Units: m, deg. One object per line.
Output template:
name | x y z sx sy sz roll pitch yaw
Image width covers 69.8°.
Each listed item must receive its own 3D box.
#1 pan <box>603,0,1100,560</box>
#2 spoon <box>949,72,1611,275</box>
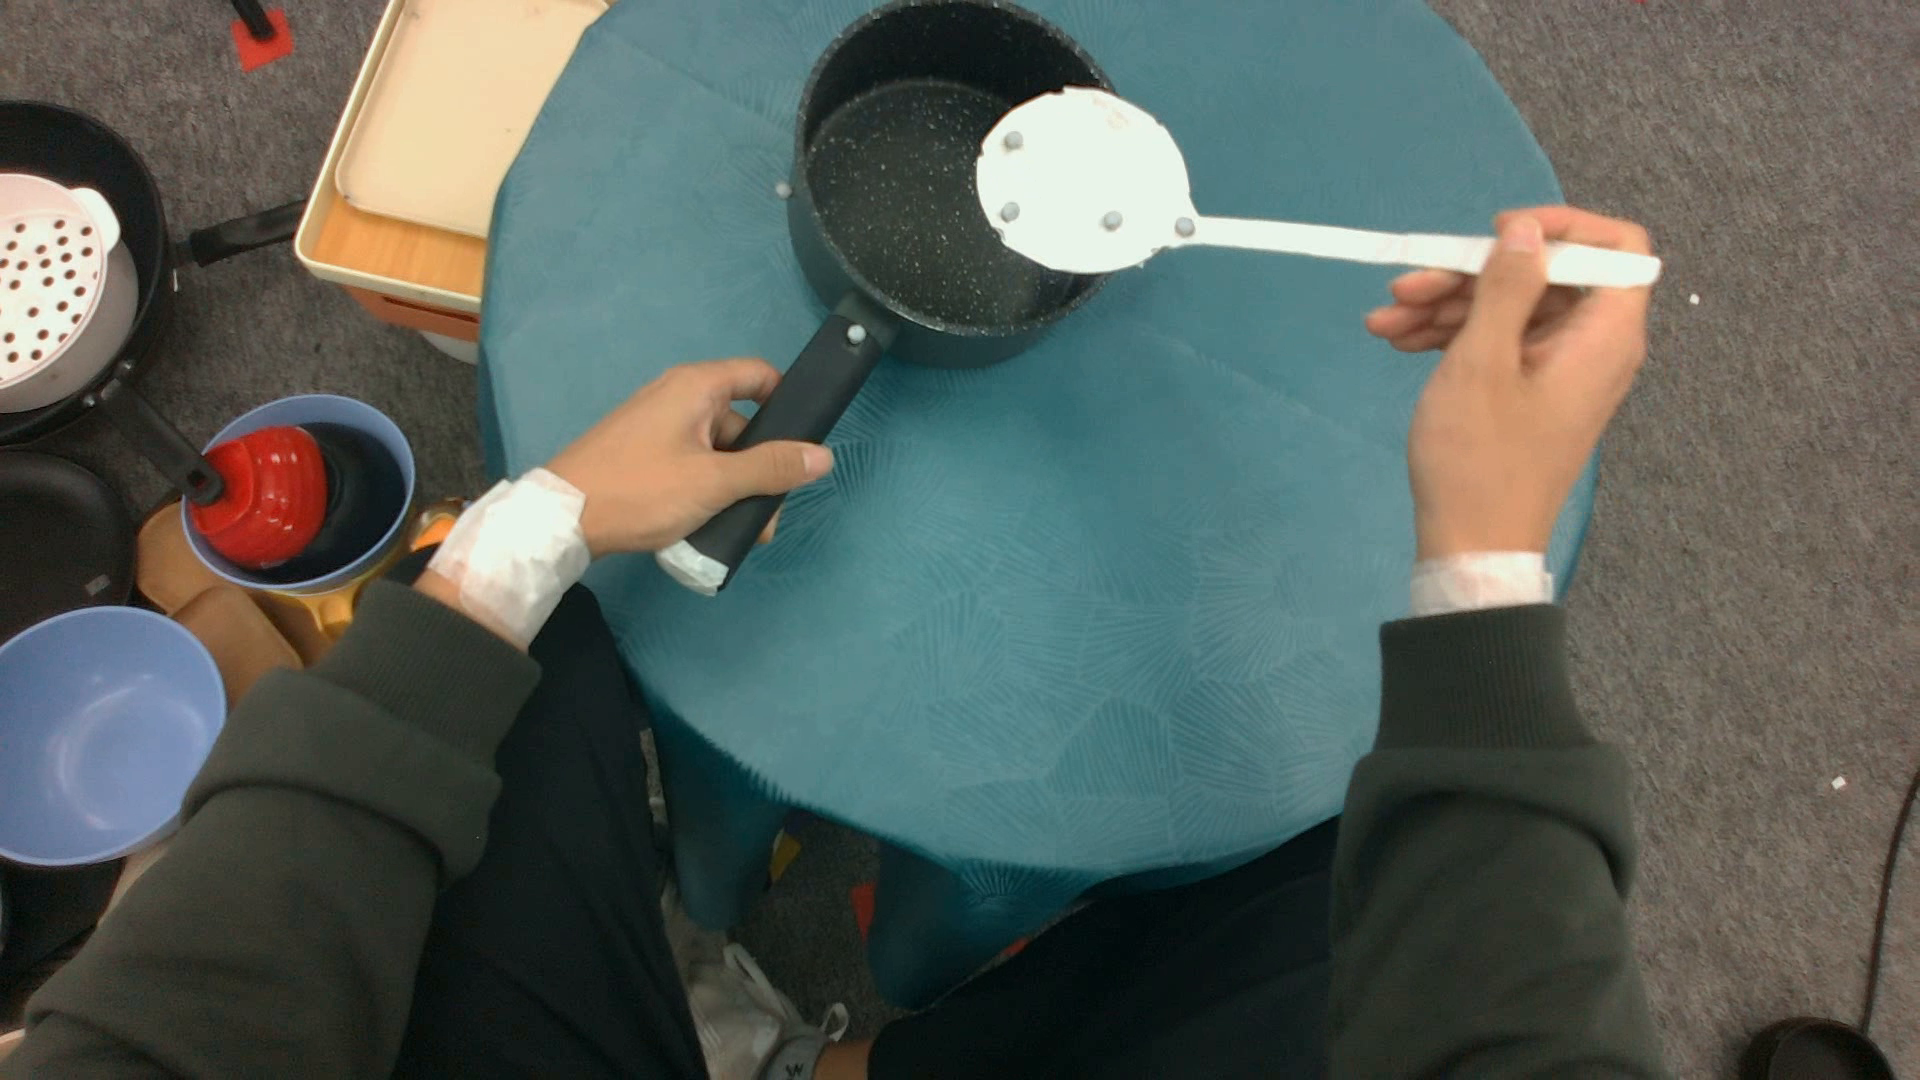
pan | -0.057 -0.120 0.667 0.172 0.086 0.330 37 72 -6
spoon | 0.111 -0.142 0.546 0.277 0.059 0.101 19 69 41
